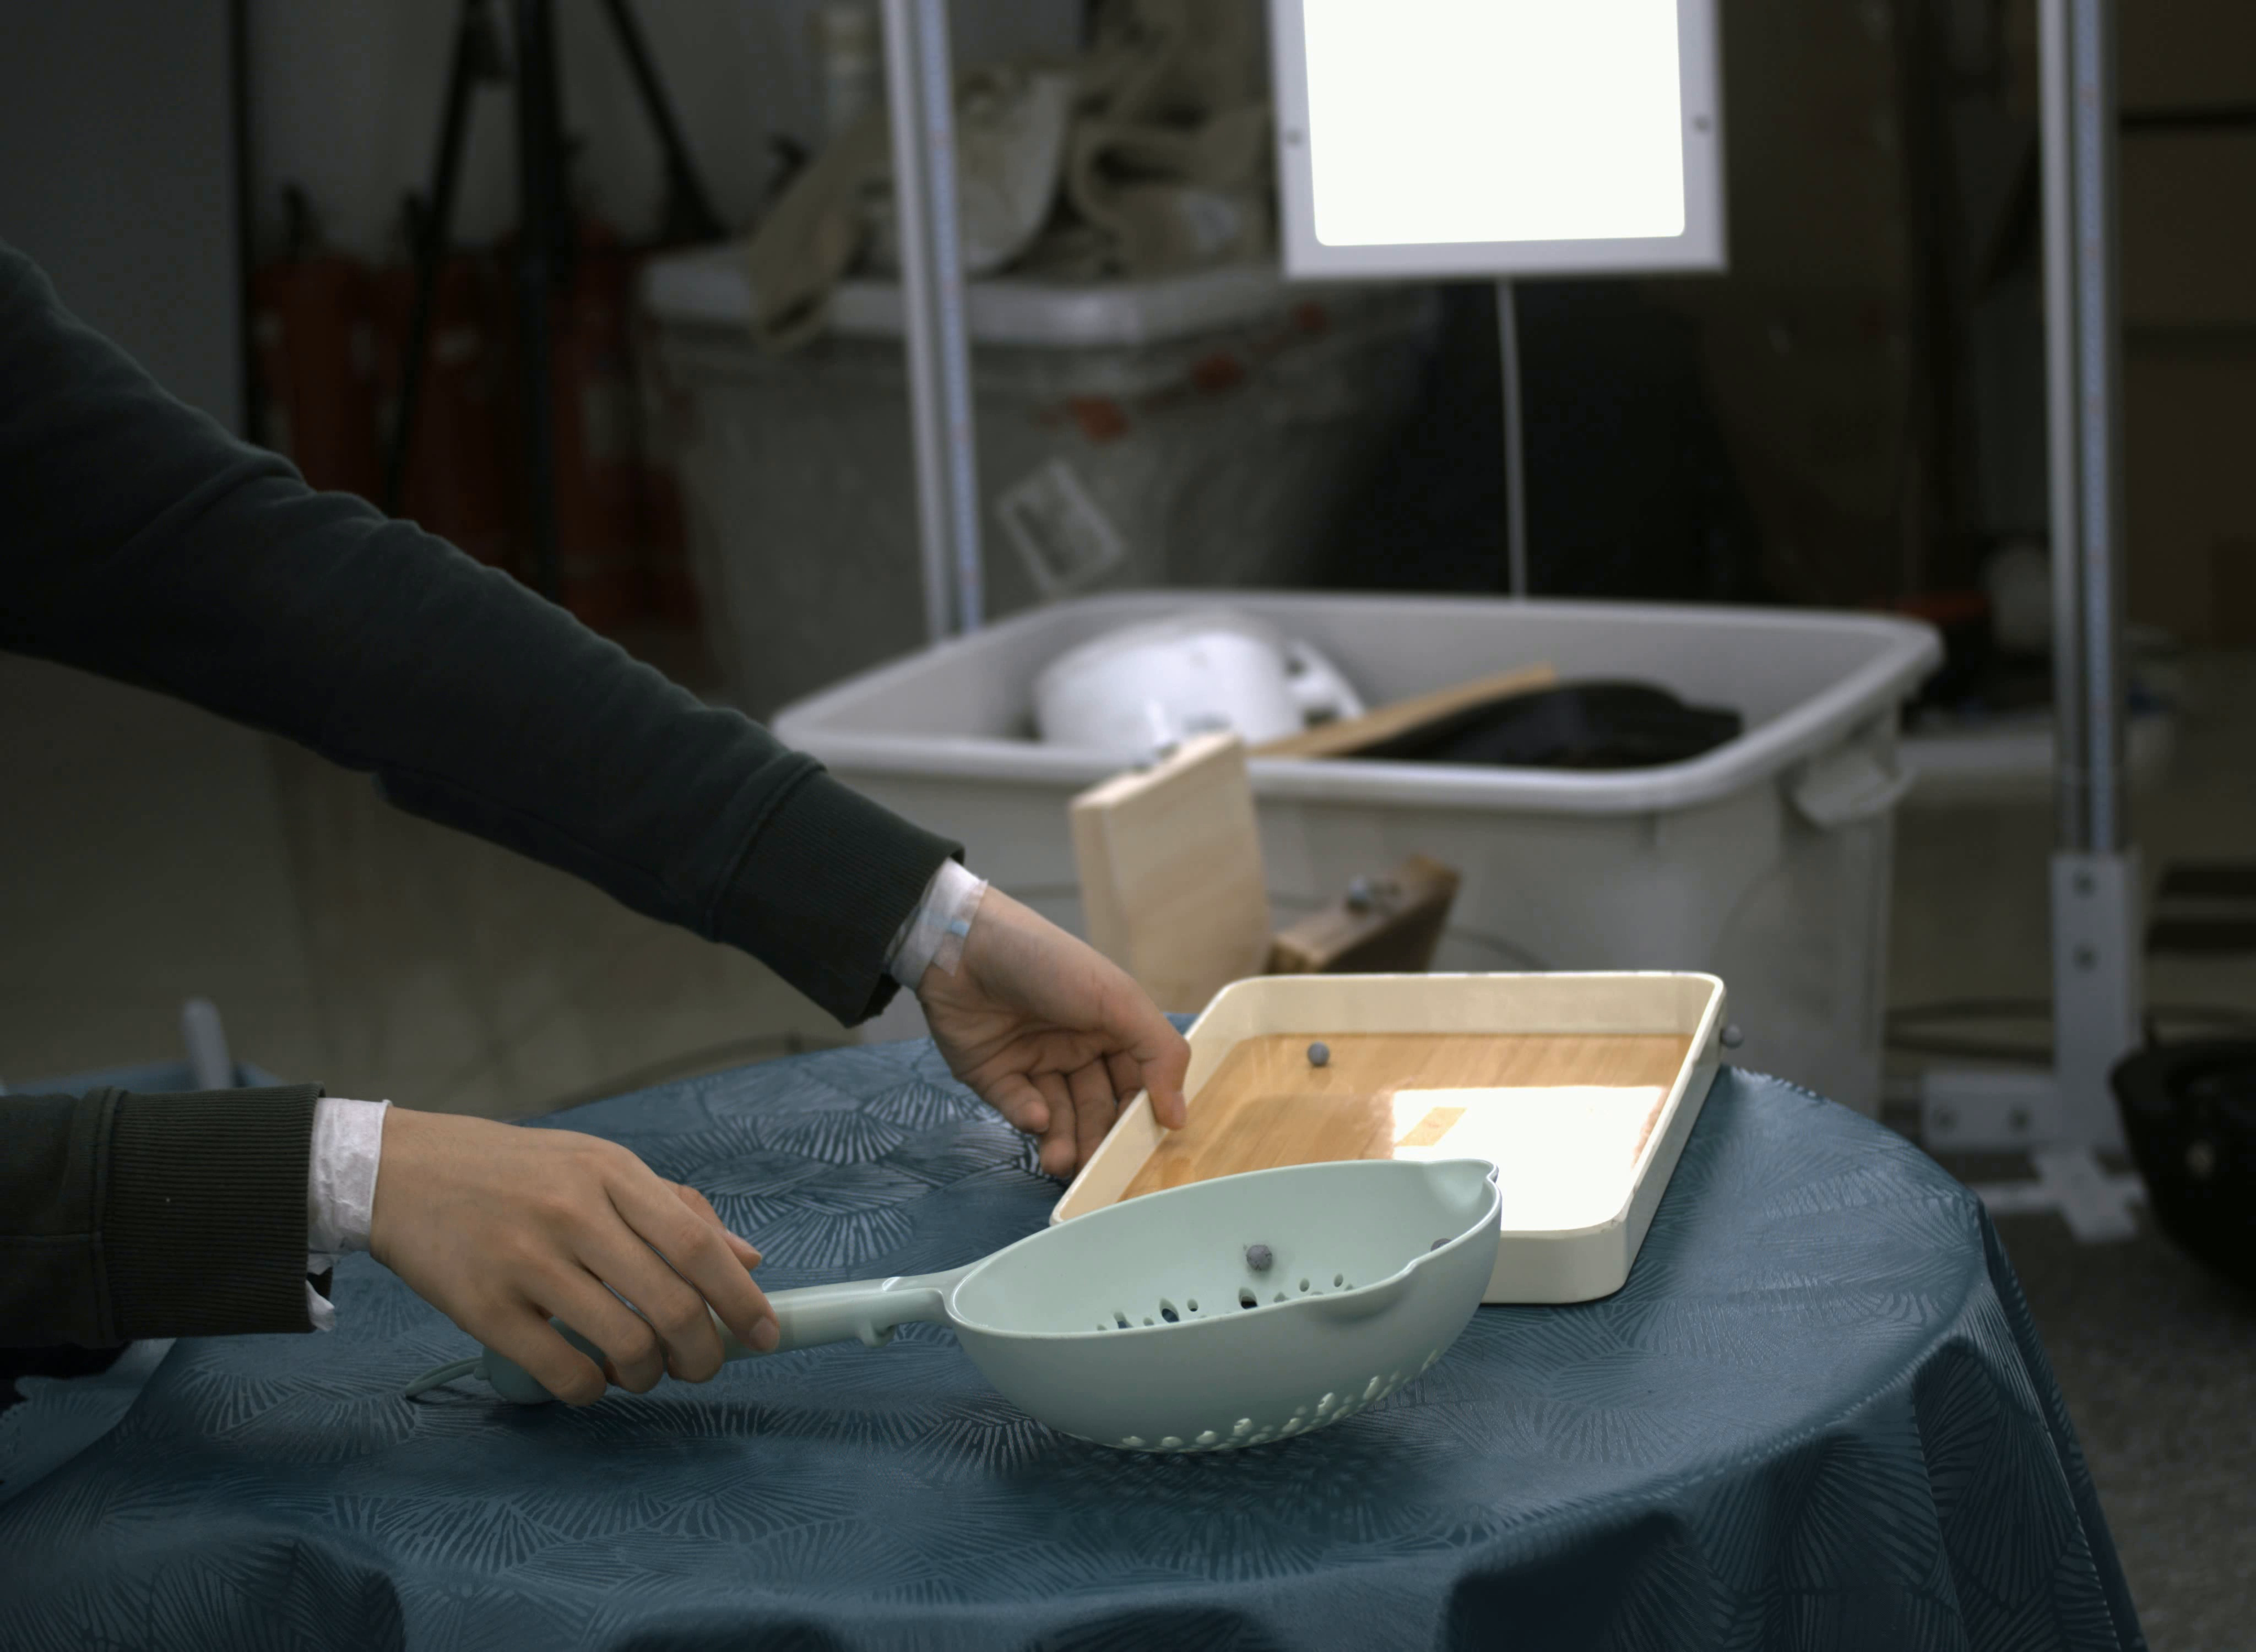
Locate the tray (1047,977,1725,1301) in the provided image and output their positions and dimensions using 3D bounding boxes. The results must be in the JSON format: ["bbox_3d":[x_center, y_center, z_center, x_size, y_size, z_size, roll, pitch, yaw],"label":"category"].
[{"bbox_3d":[0.096,0.105,1.898,0.193,0.027,0.296,-1,14,15],"label":"tray"}]

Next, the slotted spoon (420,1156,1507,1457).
[{"bbox_3d":[-0.058,0.150,1.687,0.364,0.075,0.166,0,12,21],"label":"slotted spoon"}]
